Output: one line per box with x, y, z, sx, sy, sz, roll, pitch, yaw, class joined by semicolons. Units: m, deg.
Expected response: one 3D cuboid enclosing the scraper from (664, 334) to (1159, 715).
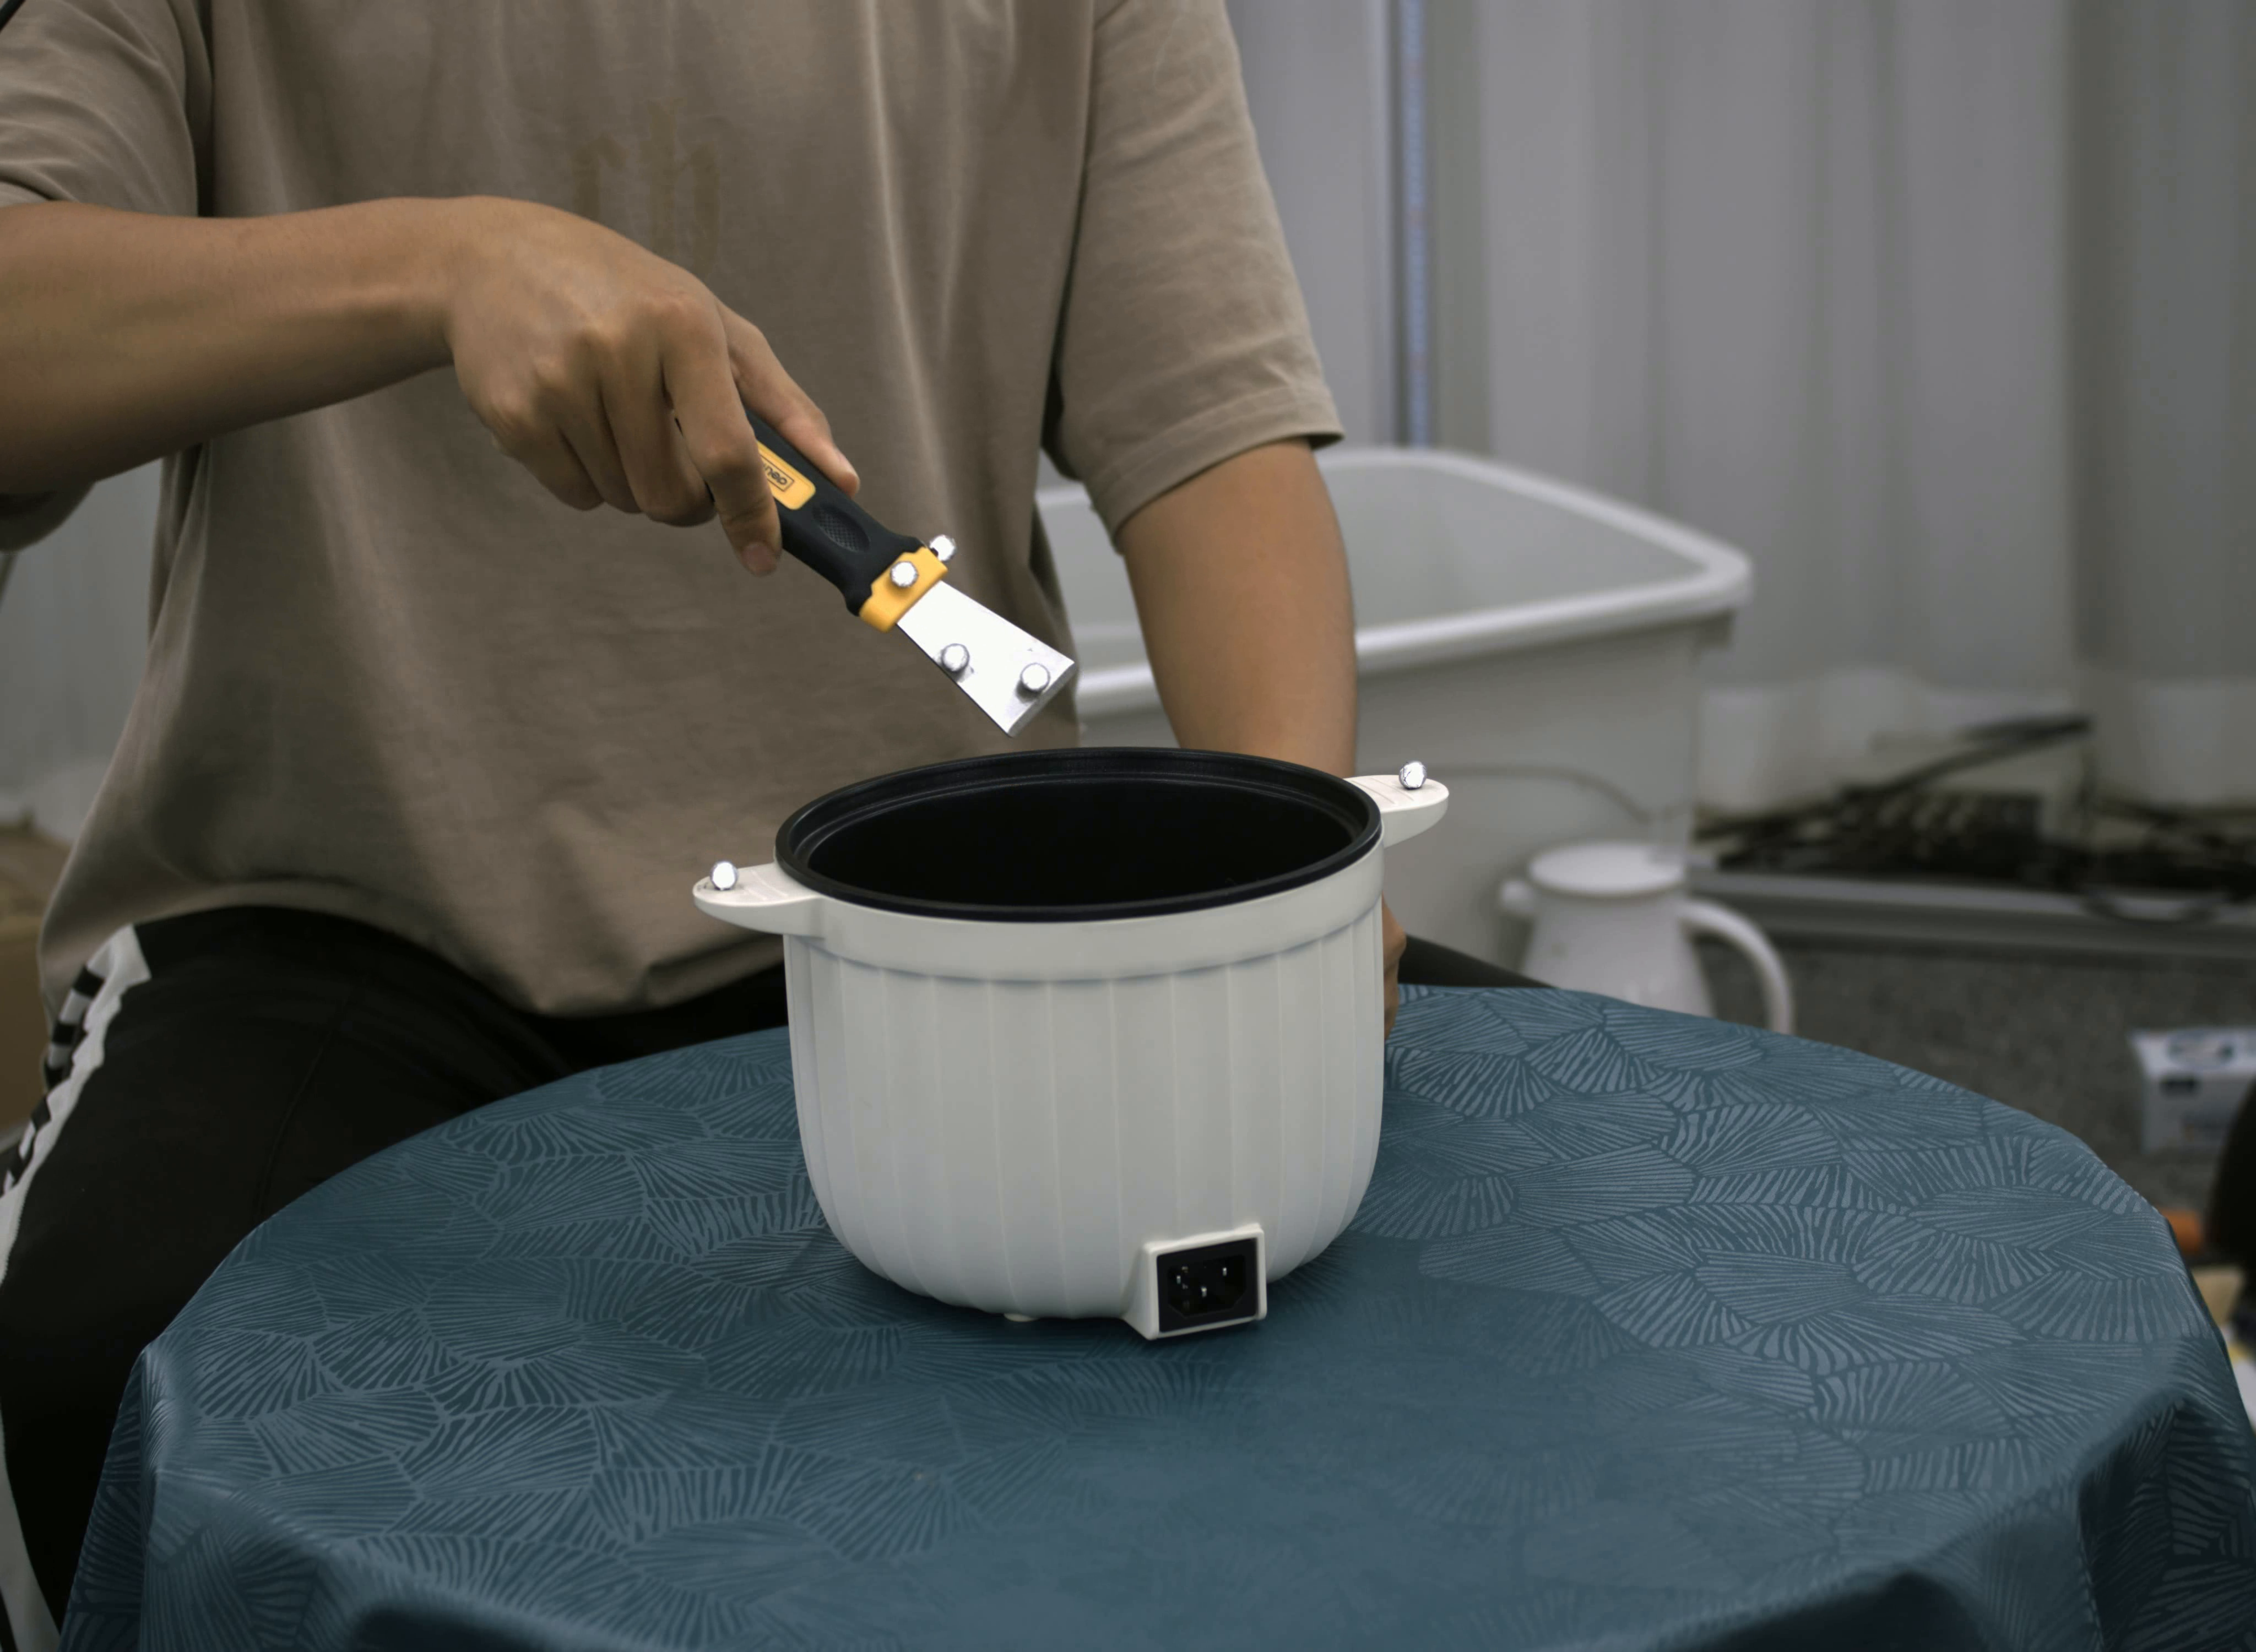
-0.068;-0.092;1.637;0.171;0.015;0.039;36;62;10;scraper

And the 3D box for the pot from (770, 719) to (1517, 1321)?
0.006;0.056;1.648;0.239;0.142;0.192;-8;19;-22;pot
